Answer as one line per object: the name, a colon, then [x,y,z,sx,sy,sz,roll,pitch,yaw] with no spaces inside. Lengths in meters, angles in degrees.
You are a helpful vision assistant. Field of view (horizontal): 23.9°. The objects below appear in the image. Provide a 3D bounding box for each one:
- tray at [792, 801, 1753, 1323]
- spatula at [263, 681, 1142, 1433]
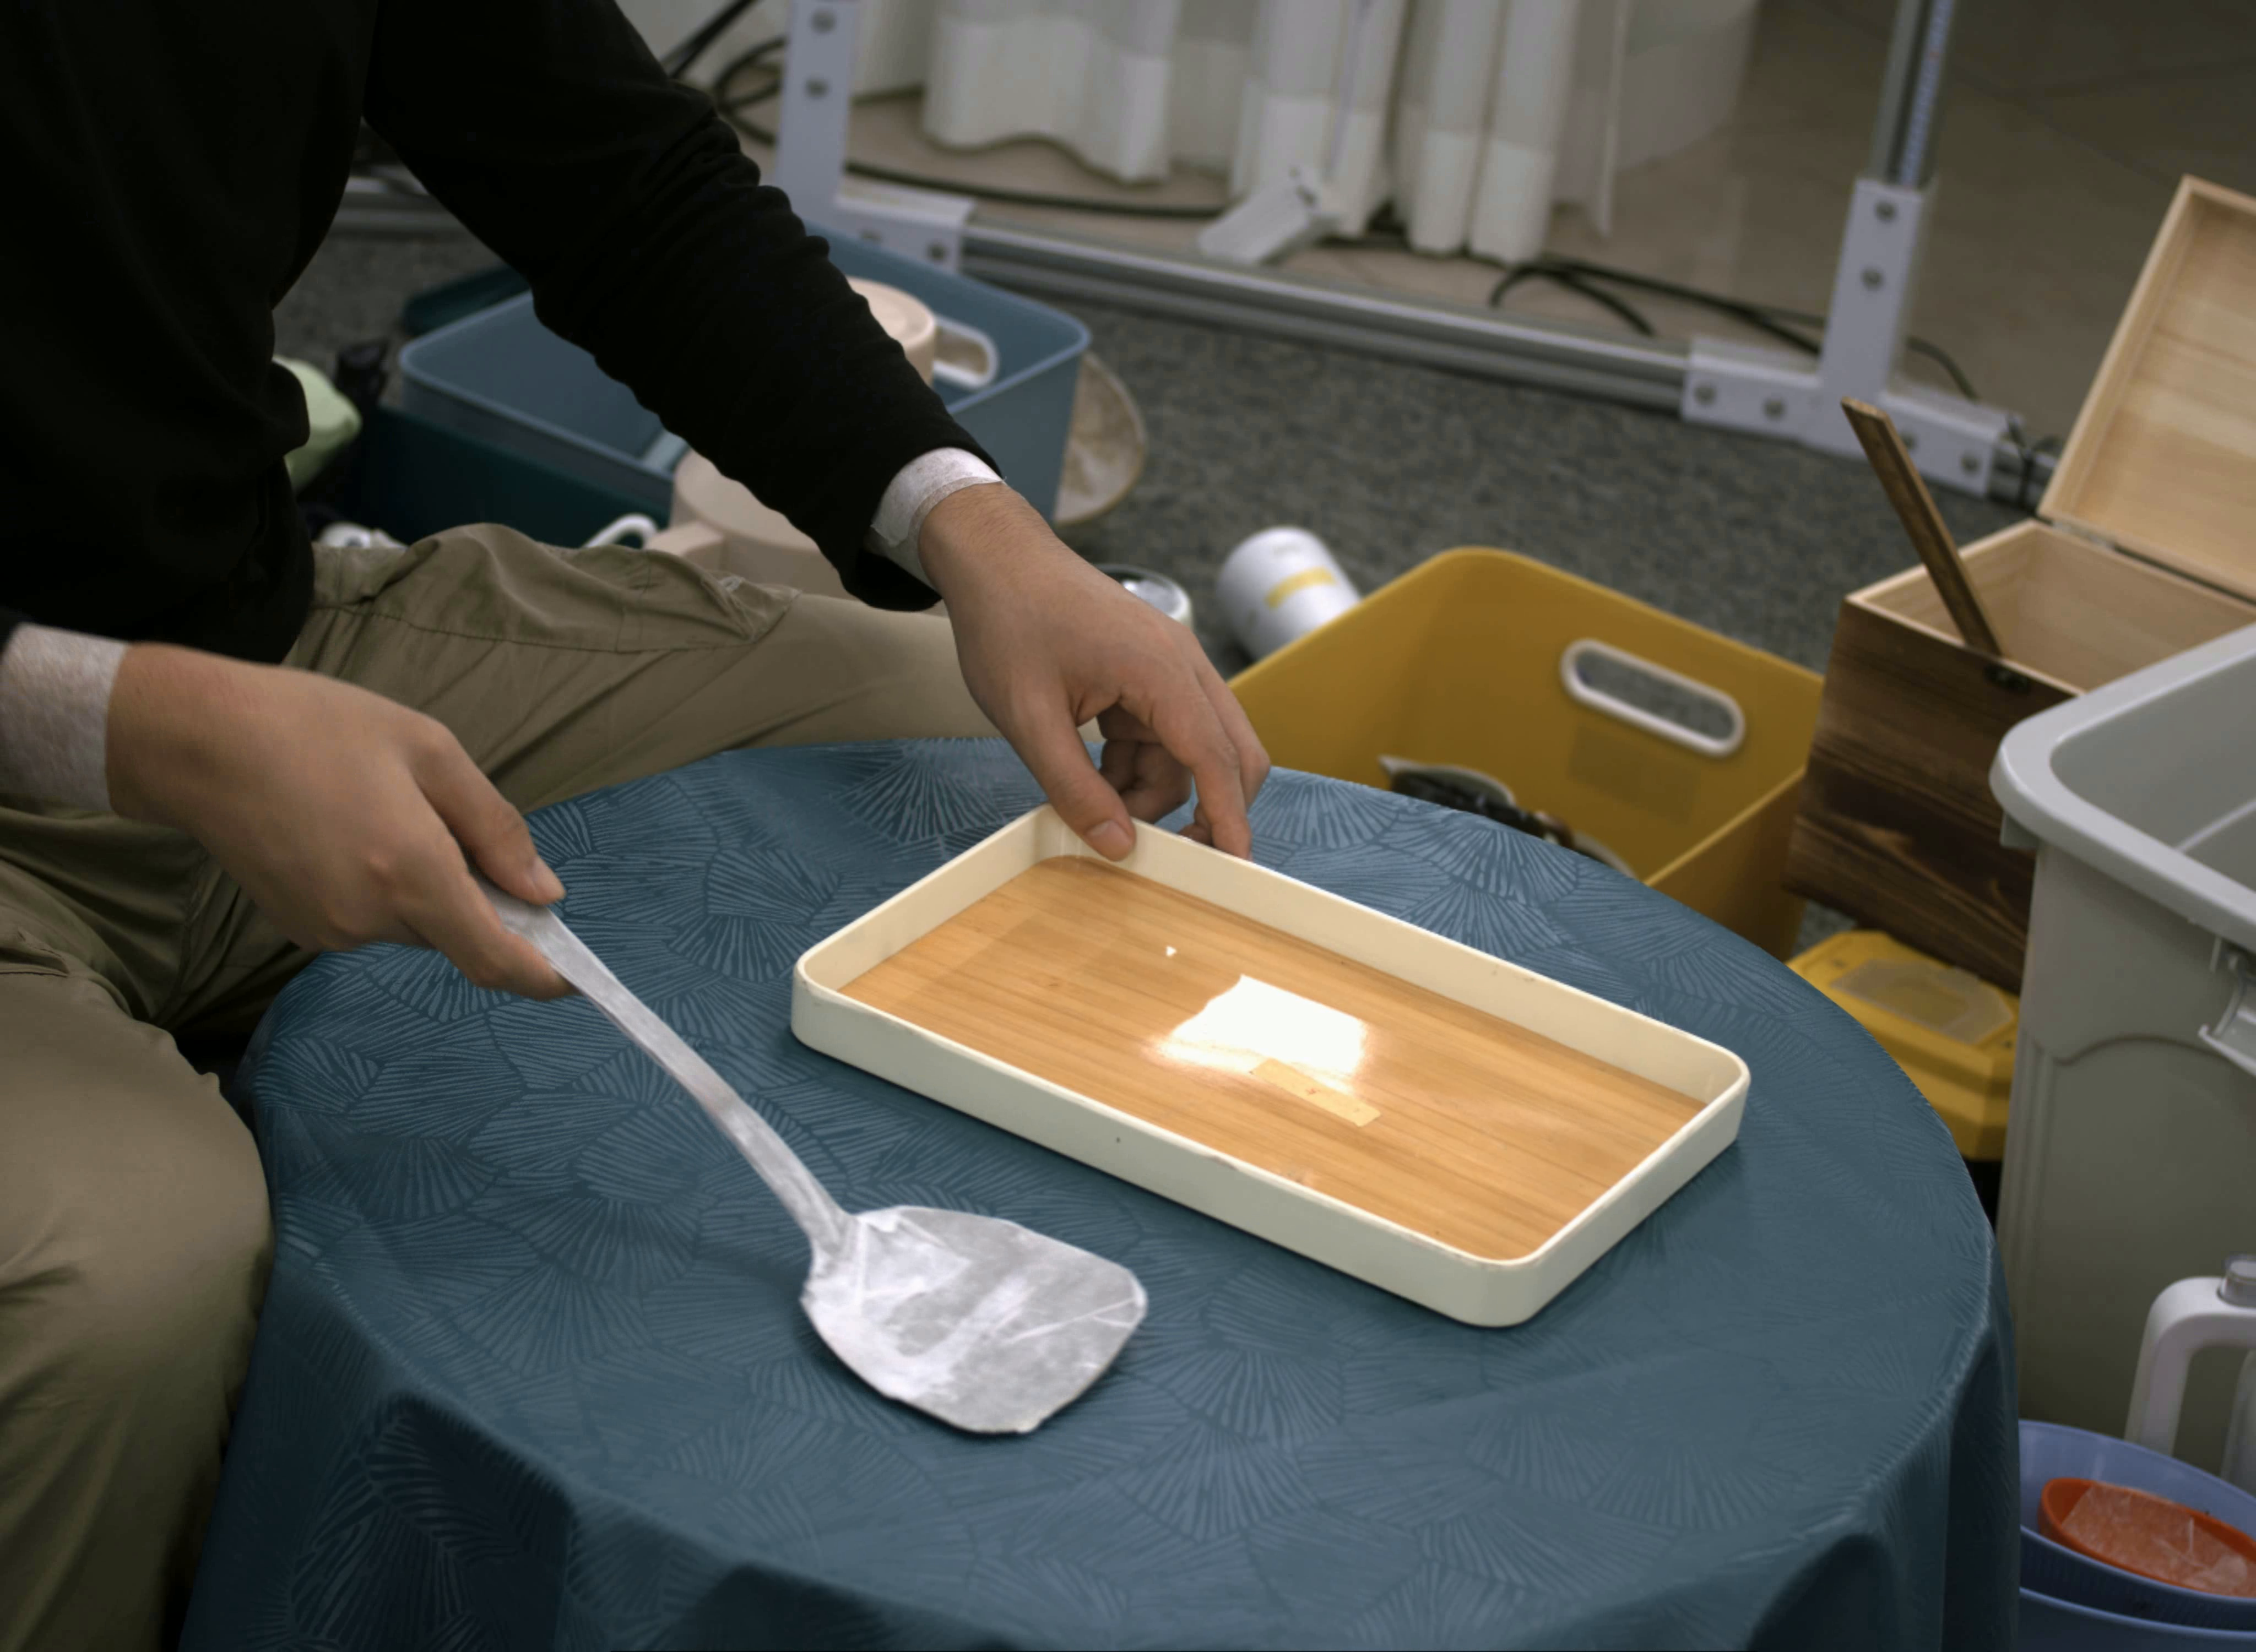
tray: [0.050,0.078,1.872,0.302,0.027,0.191,21,31,27]
spatula: [-0.152,0.066,1.726,0.366,0.044,0.098,43,45,9]
